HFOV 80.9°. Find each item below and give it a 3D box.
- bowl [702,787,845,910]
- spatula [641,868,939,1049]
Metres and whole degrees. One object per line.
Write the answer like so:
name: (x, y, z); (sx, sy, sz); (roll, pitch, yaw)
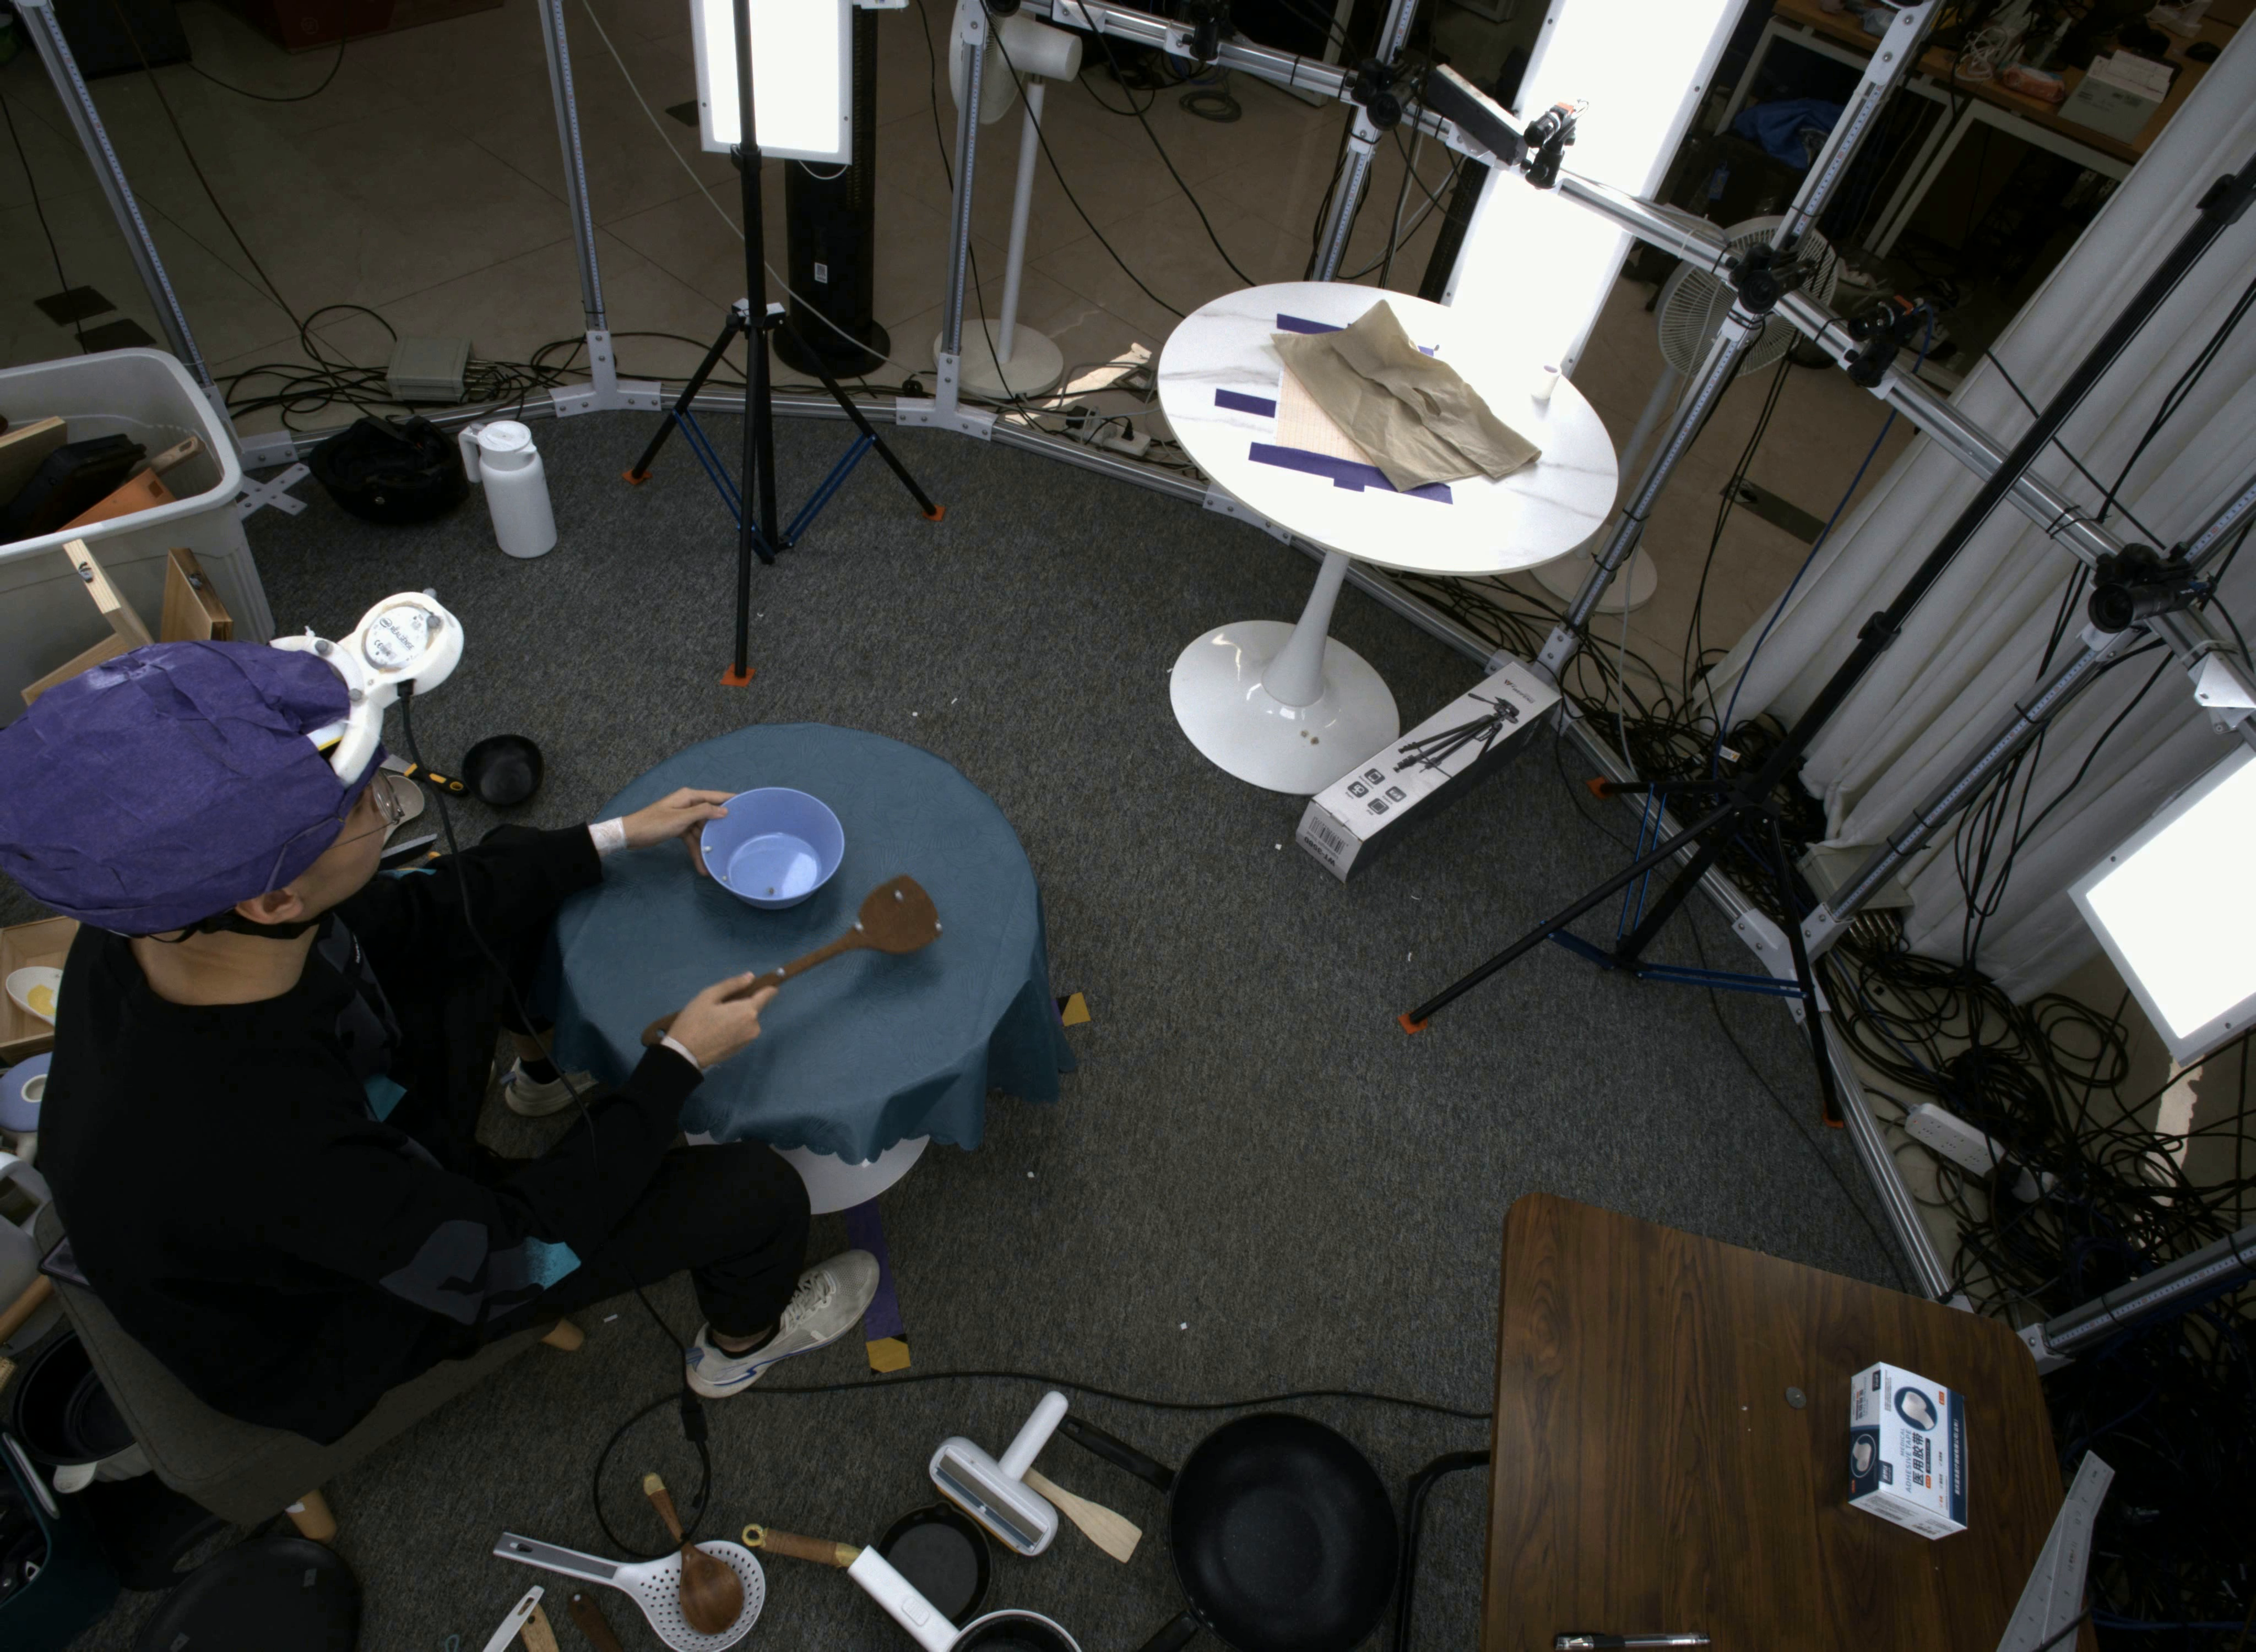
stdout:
bowl: (-0.449, 0.038, 1.649); (0.175, 0.072, 0.173); (7, 53, -8)
spatula: (-0.389, 0.158, 1.506); (0.388, 0.016, 0.096); (-28, 82, -36)
